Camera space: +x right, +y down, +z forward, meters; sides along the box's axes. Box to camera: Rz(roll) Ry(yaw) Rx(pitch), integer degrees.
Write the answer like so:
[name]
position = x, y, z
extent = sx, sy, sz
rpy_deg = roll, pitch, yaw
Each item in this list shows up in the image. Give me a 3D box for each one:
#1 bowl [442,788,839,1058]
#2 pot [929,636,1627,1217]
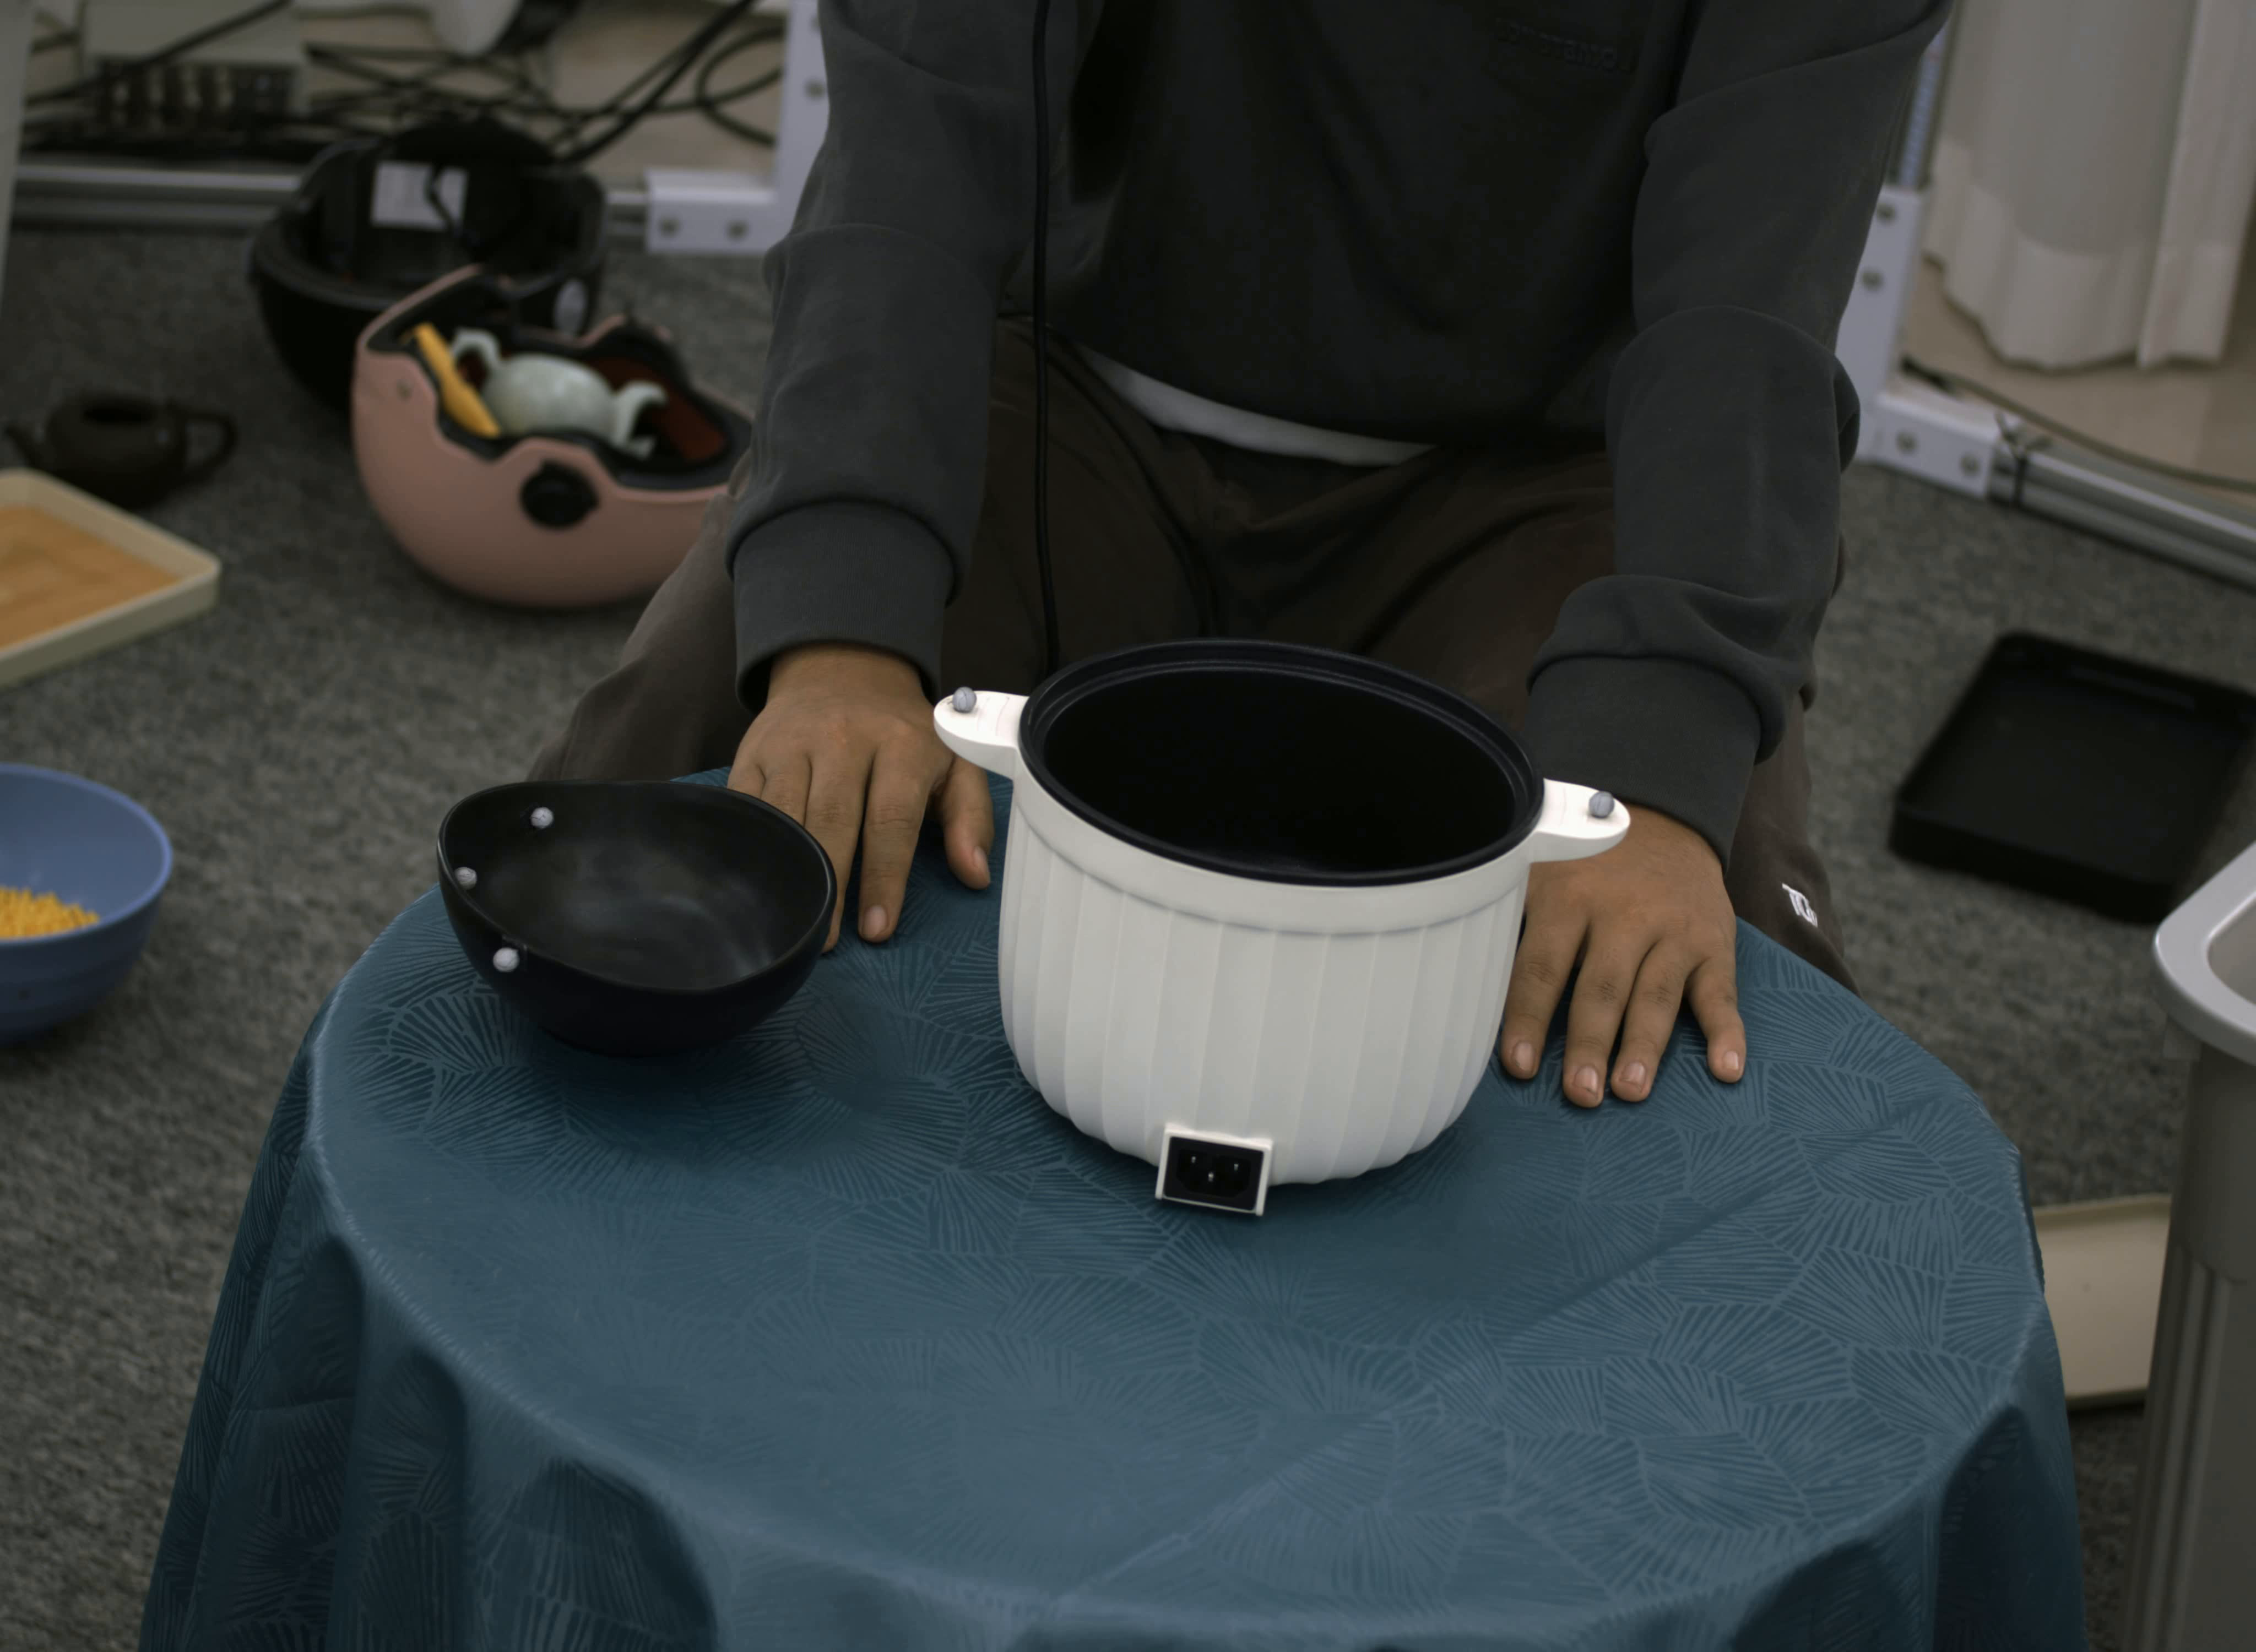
[bowl]
position = -0.173, 0.038, 1.863
extent = 0.136, 0.066, 0.172
rpy_deg = -1, 26, -17
[pot]
position = 0.044, 0.031, 1.847
extent = 0.240, 0.142, 0.191
rpy_deg = 10, 30, 3
